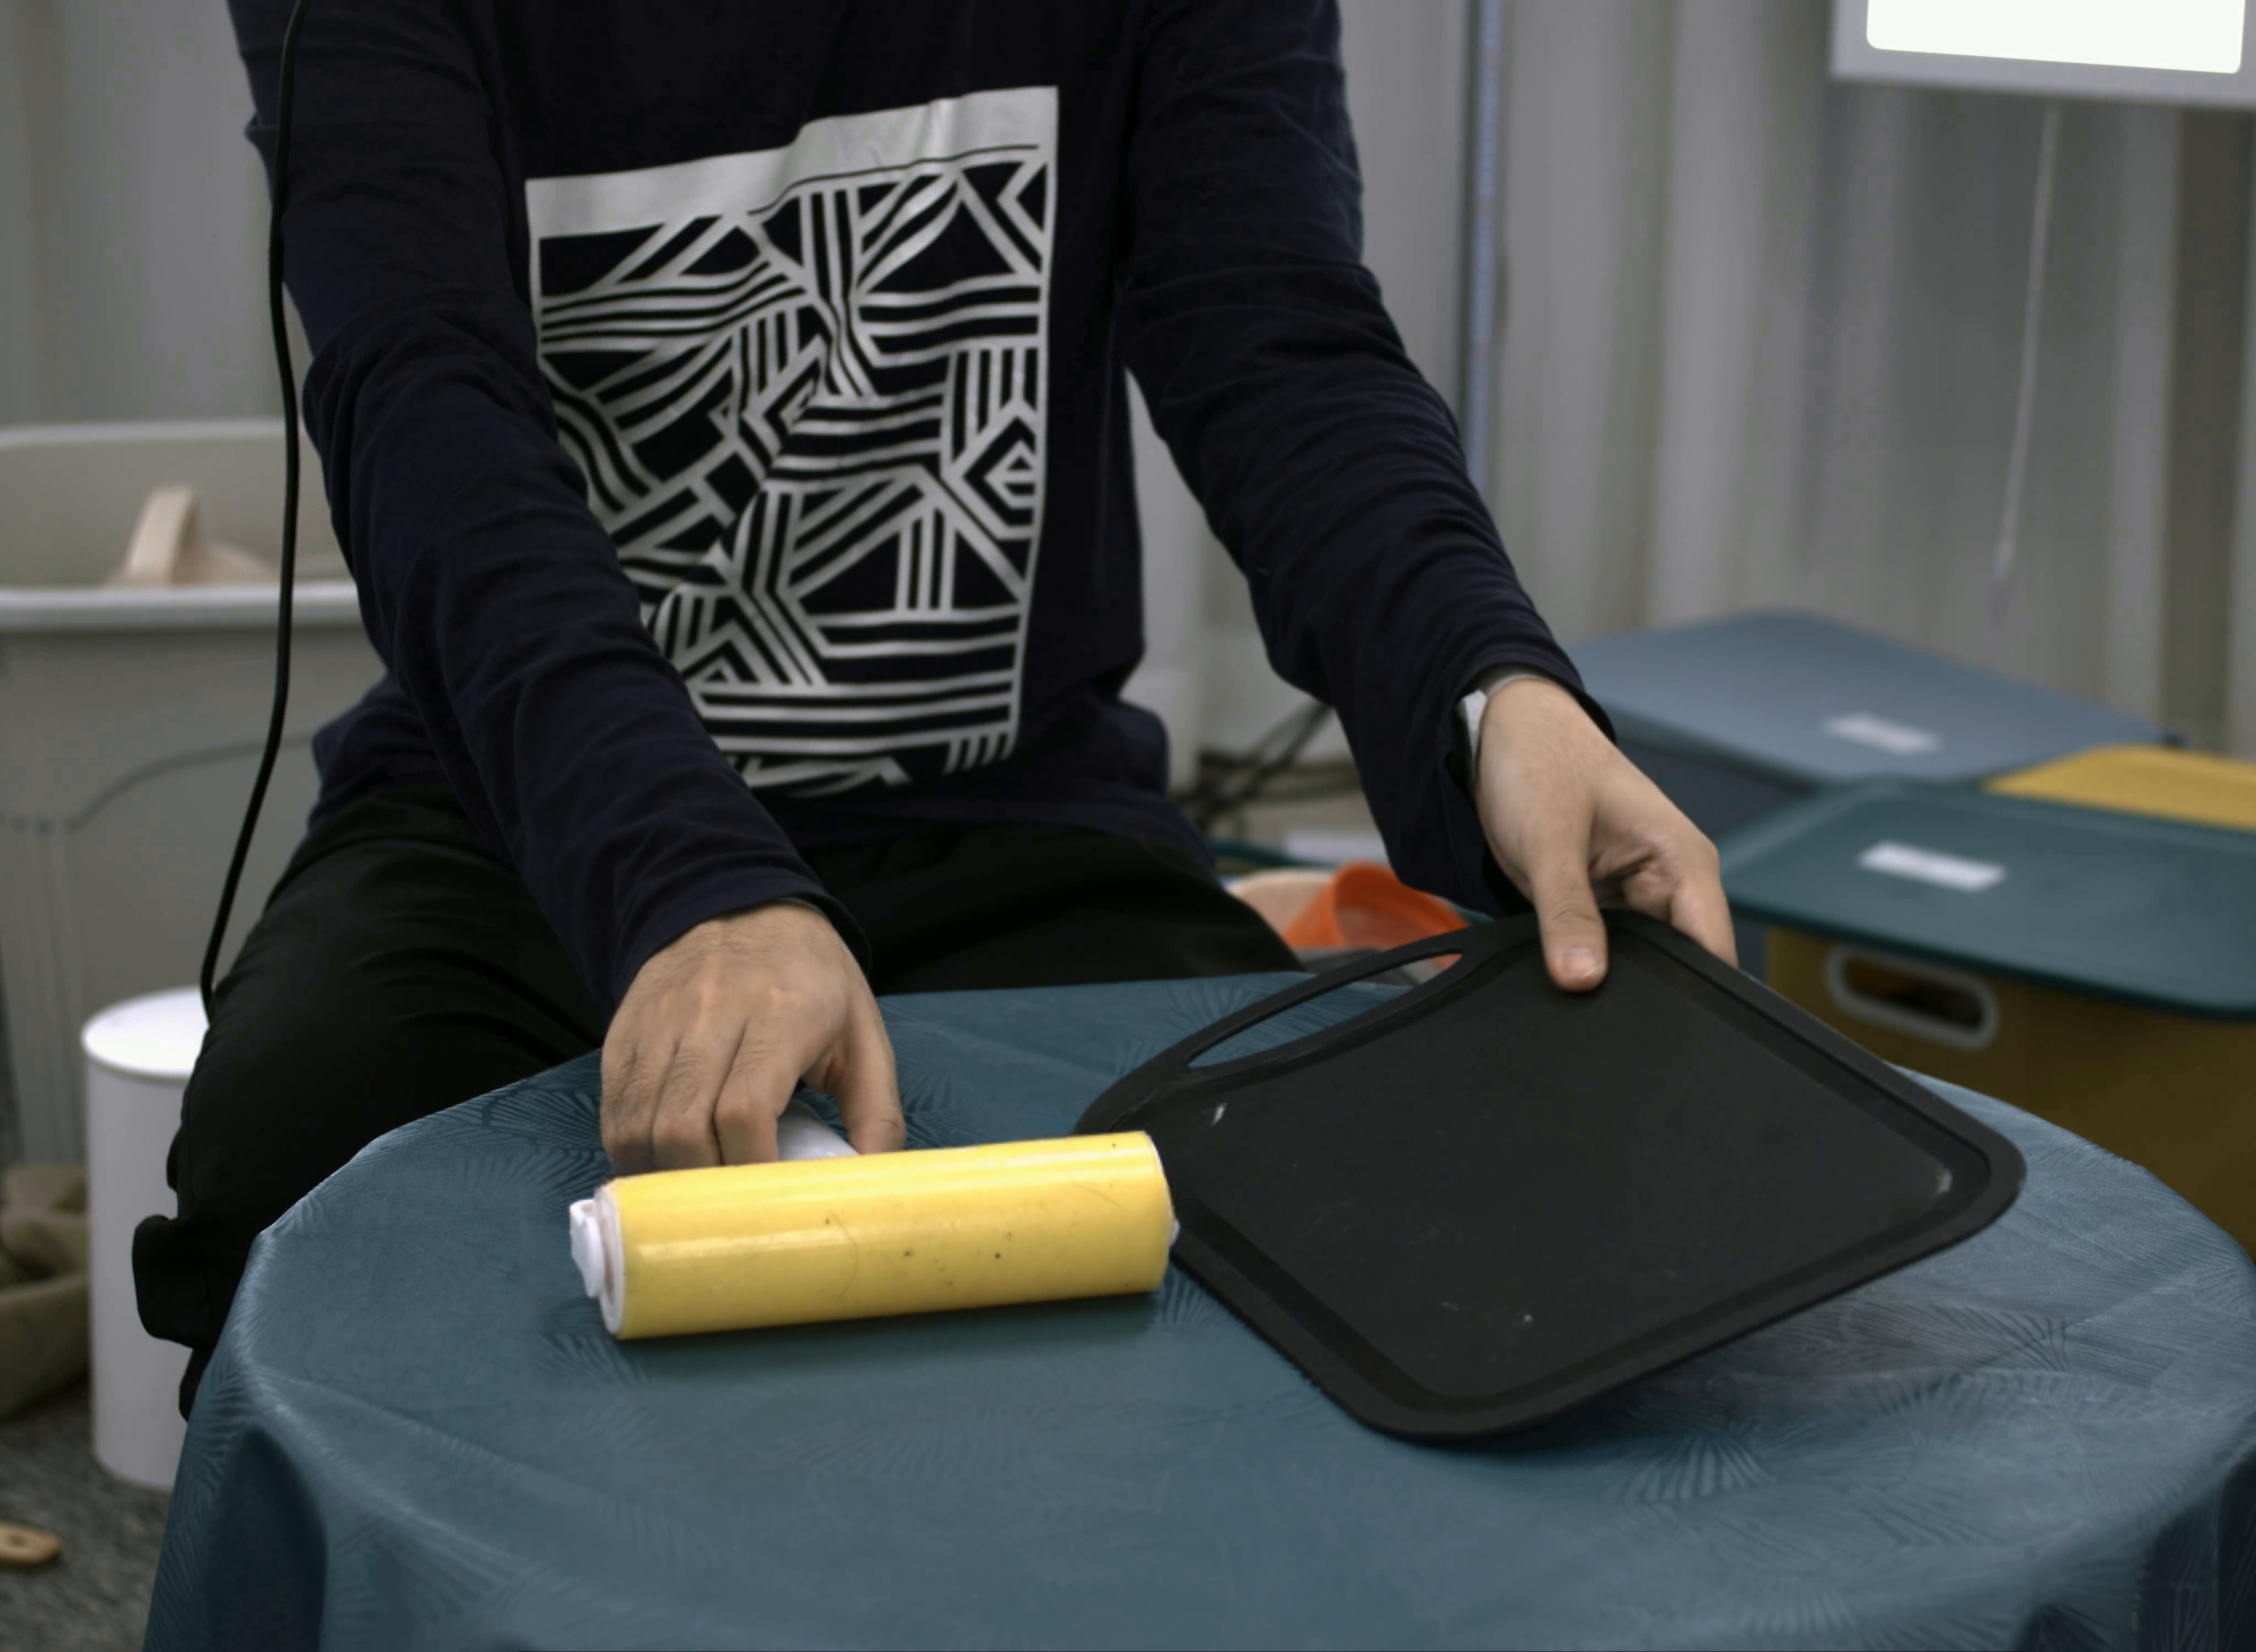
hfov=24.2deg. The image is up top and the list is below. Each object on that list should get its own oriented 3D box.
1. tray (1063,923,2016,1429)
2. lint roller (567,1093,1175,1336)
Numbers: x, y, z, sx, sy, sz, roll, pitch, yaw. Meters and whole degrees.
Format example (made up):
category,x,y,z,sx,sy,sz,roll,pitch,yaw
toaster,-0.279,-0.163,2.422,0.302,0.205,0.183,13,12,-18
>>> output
category,x,y,z,sx,sy,sz,roll,pitch,yaw
tray,0.111,0.095,1.577,0.211,0.010,0.321,-20,21,-16
lint roller,-0.093,0.098,1.579,0.174,0.052,0.190,-3,19,-17
